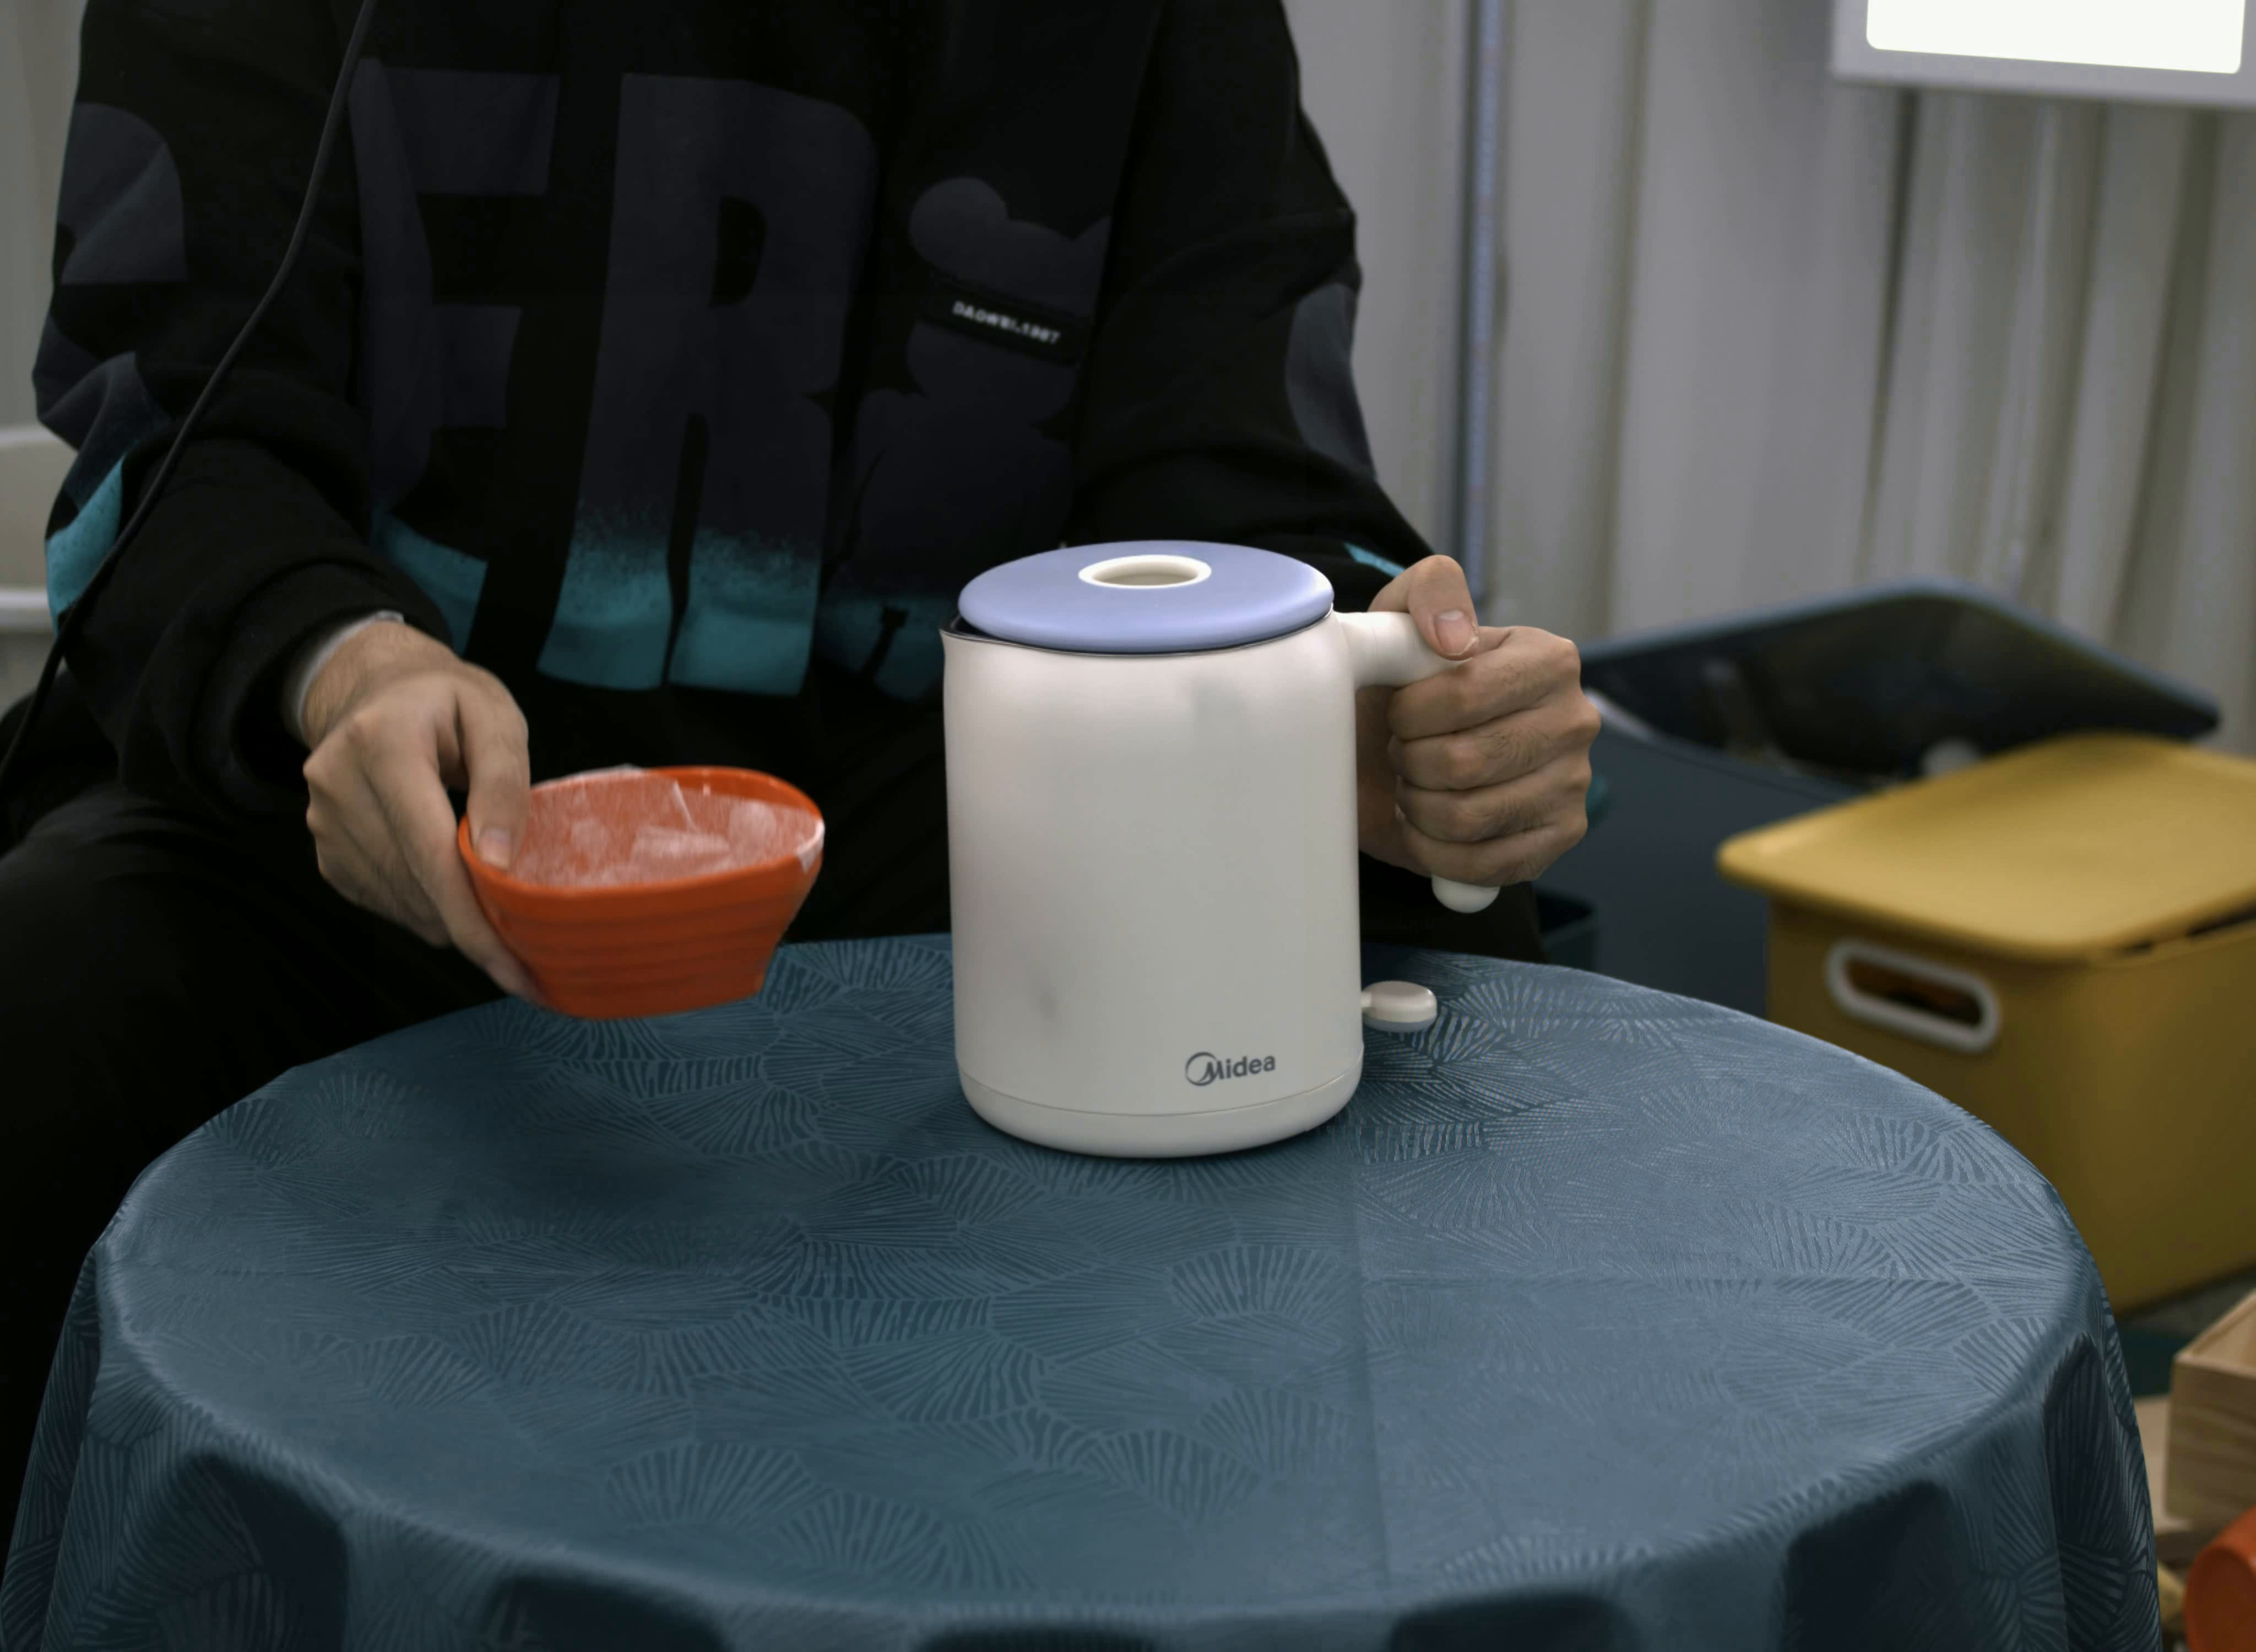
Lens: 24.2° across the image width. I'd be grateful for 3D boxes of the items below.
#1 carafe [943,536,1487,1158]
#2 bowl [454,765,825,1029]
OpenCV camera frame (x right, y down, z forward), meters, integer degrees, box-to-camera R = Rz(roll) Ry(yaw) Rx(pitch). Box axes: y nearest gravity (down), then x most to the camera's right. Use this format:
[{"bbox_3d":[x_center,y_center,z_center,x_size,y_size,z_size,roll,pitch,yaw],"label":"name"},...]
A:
[{"bbox_3d":[0.030,0.004,1.685,0.192,0.184,0.130,-6,18,-22],"label":"carafe"},{"bbox_3d":[-0.147,0.024,1.605,0.118,0.052,0.118,-2,21,1],"label":"bowl"}]
